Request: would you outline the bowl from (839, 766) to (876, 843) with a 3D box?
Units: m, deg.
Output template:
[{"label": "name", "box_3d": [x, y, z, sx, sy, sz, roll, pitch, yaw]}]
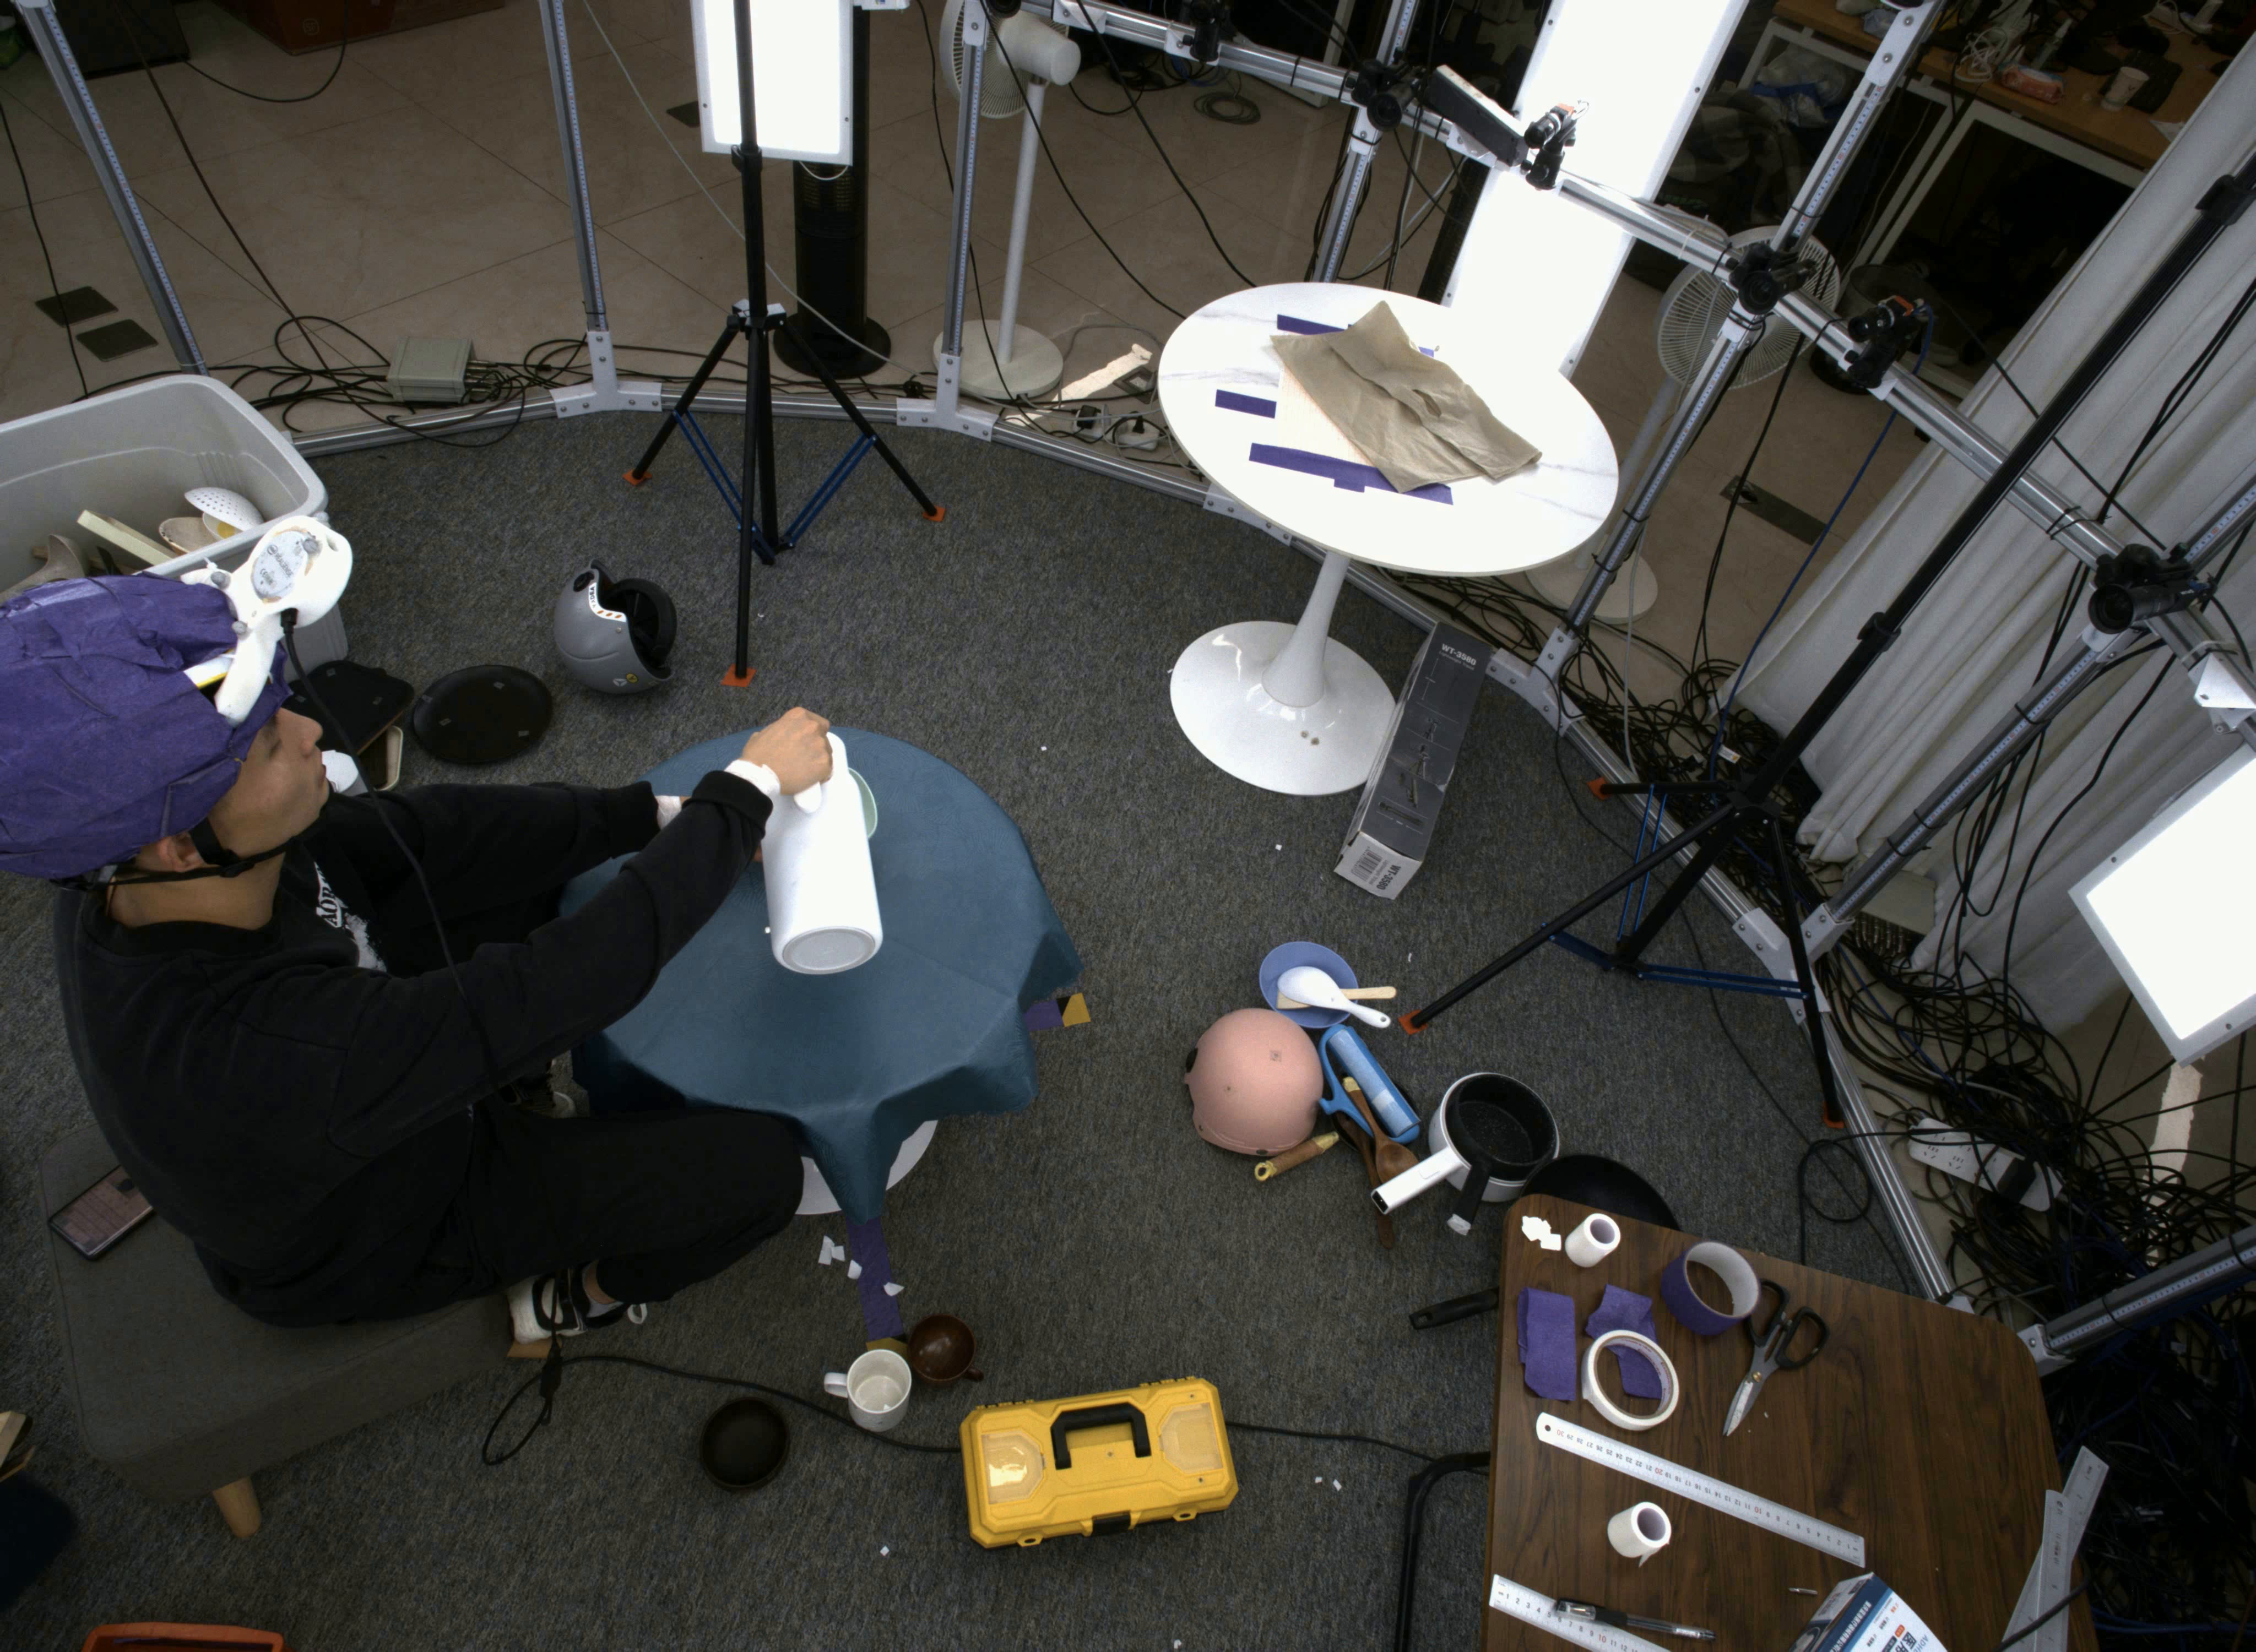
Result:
[{"label": "bowl", "box_3d": [-0.394, -0.007, 1.650, 0.151, 0.059, 0.149, 9, 52, -10]}]

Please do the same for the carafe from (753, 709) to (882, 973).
[{"label": "carafe", "box_3d": [-0.345, 0.009, 1.419, 0.124, 0.176, 0.263, -6, 58, -14]}]
